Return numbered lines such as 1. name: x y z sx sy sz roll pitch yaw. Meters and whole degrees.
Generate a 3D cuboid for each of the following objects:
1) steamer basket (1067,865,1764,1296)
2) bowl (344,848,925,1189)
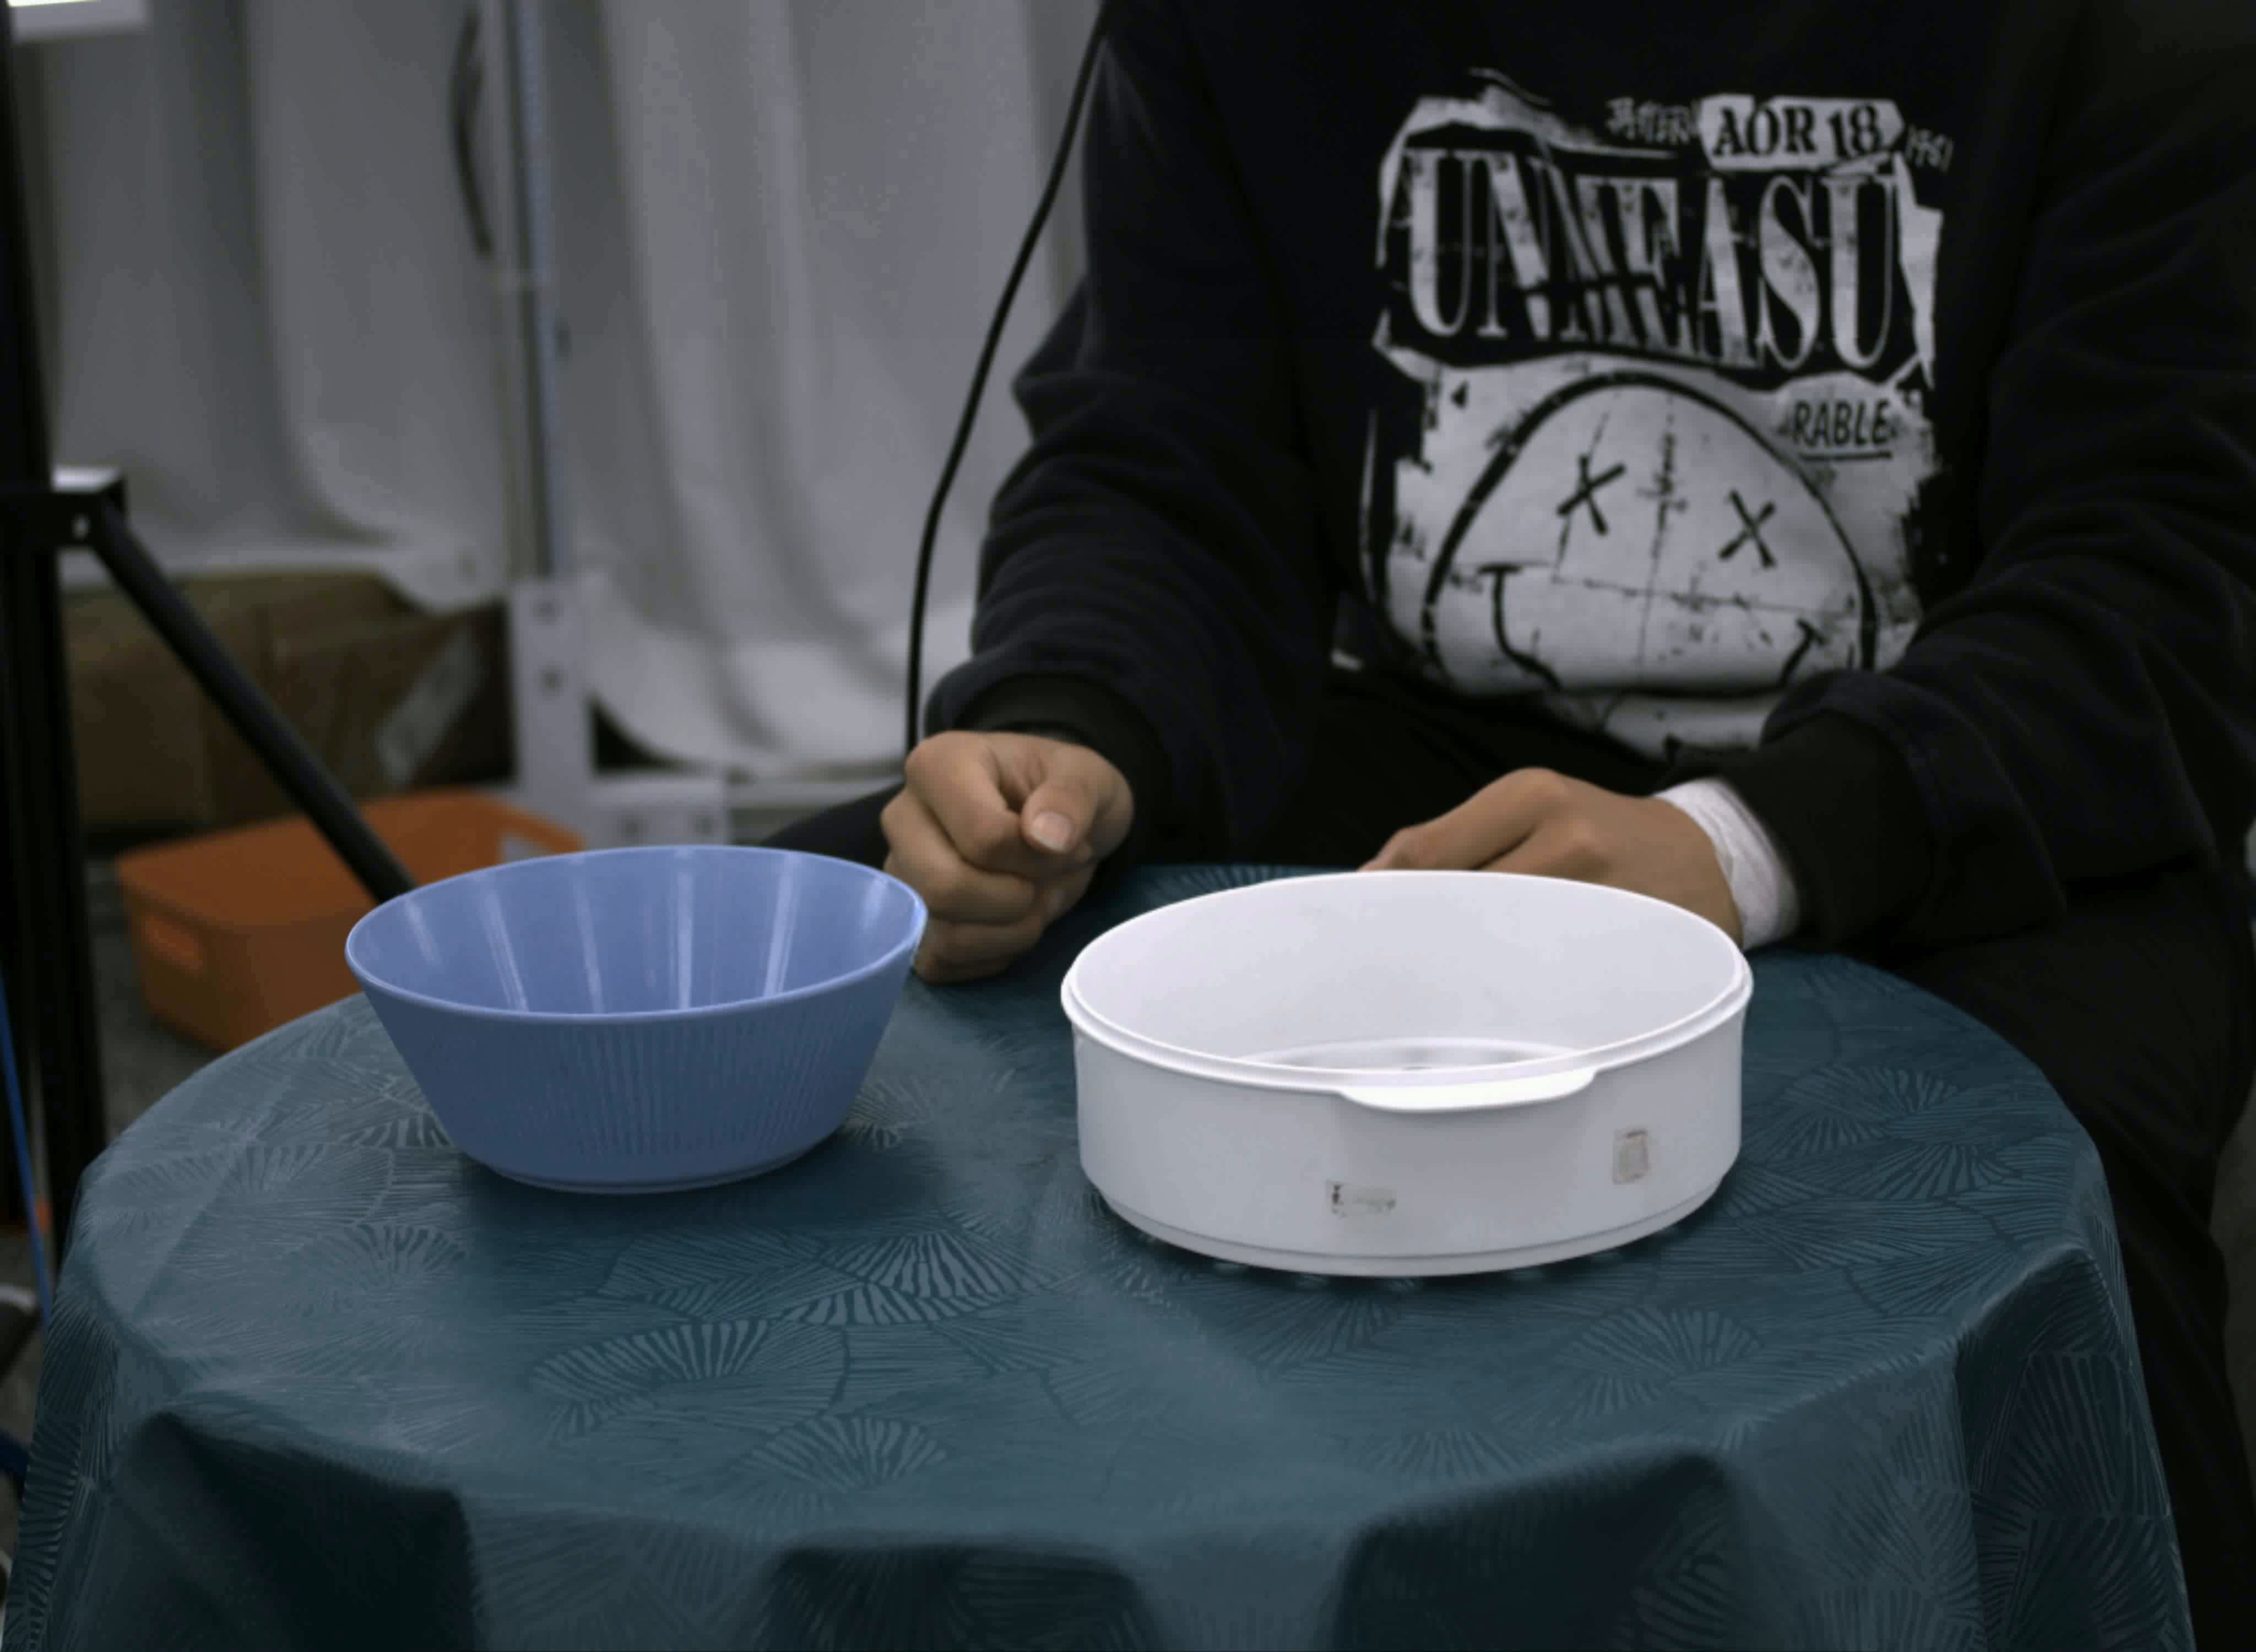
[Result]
1. steamer basket: 0.084 0.074 1.541 0.200 0.069 0.233 -4 18 -6
2. bowl: -0.148 0.061 1.620 0.175 0.070 0.177 -2 16 -1
